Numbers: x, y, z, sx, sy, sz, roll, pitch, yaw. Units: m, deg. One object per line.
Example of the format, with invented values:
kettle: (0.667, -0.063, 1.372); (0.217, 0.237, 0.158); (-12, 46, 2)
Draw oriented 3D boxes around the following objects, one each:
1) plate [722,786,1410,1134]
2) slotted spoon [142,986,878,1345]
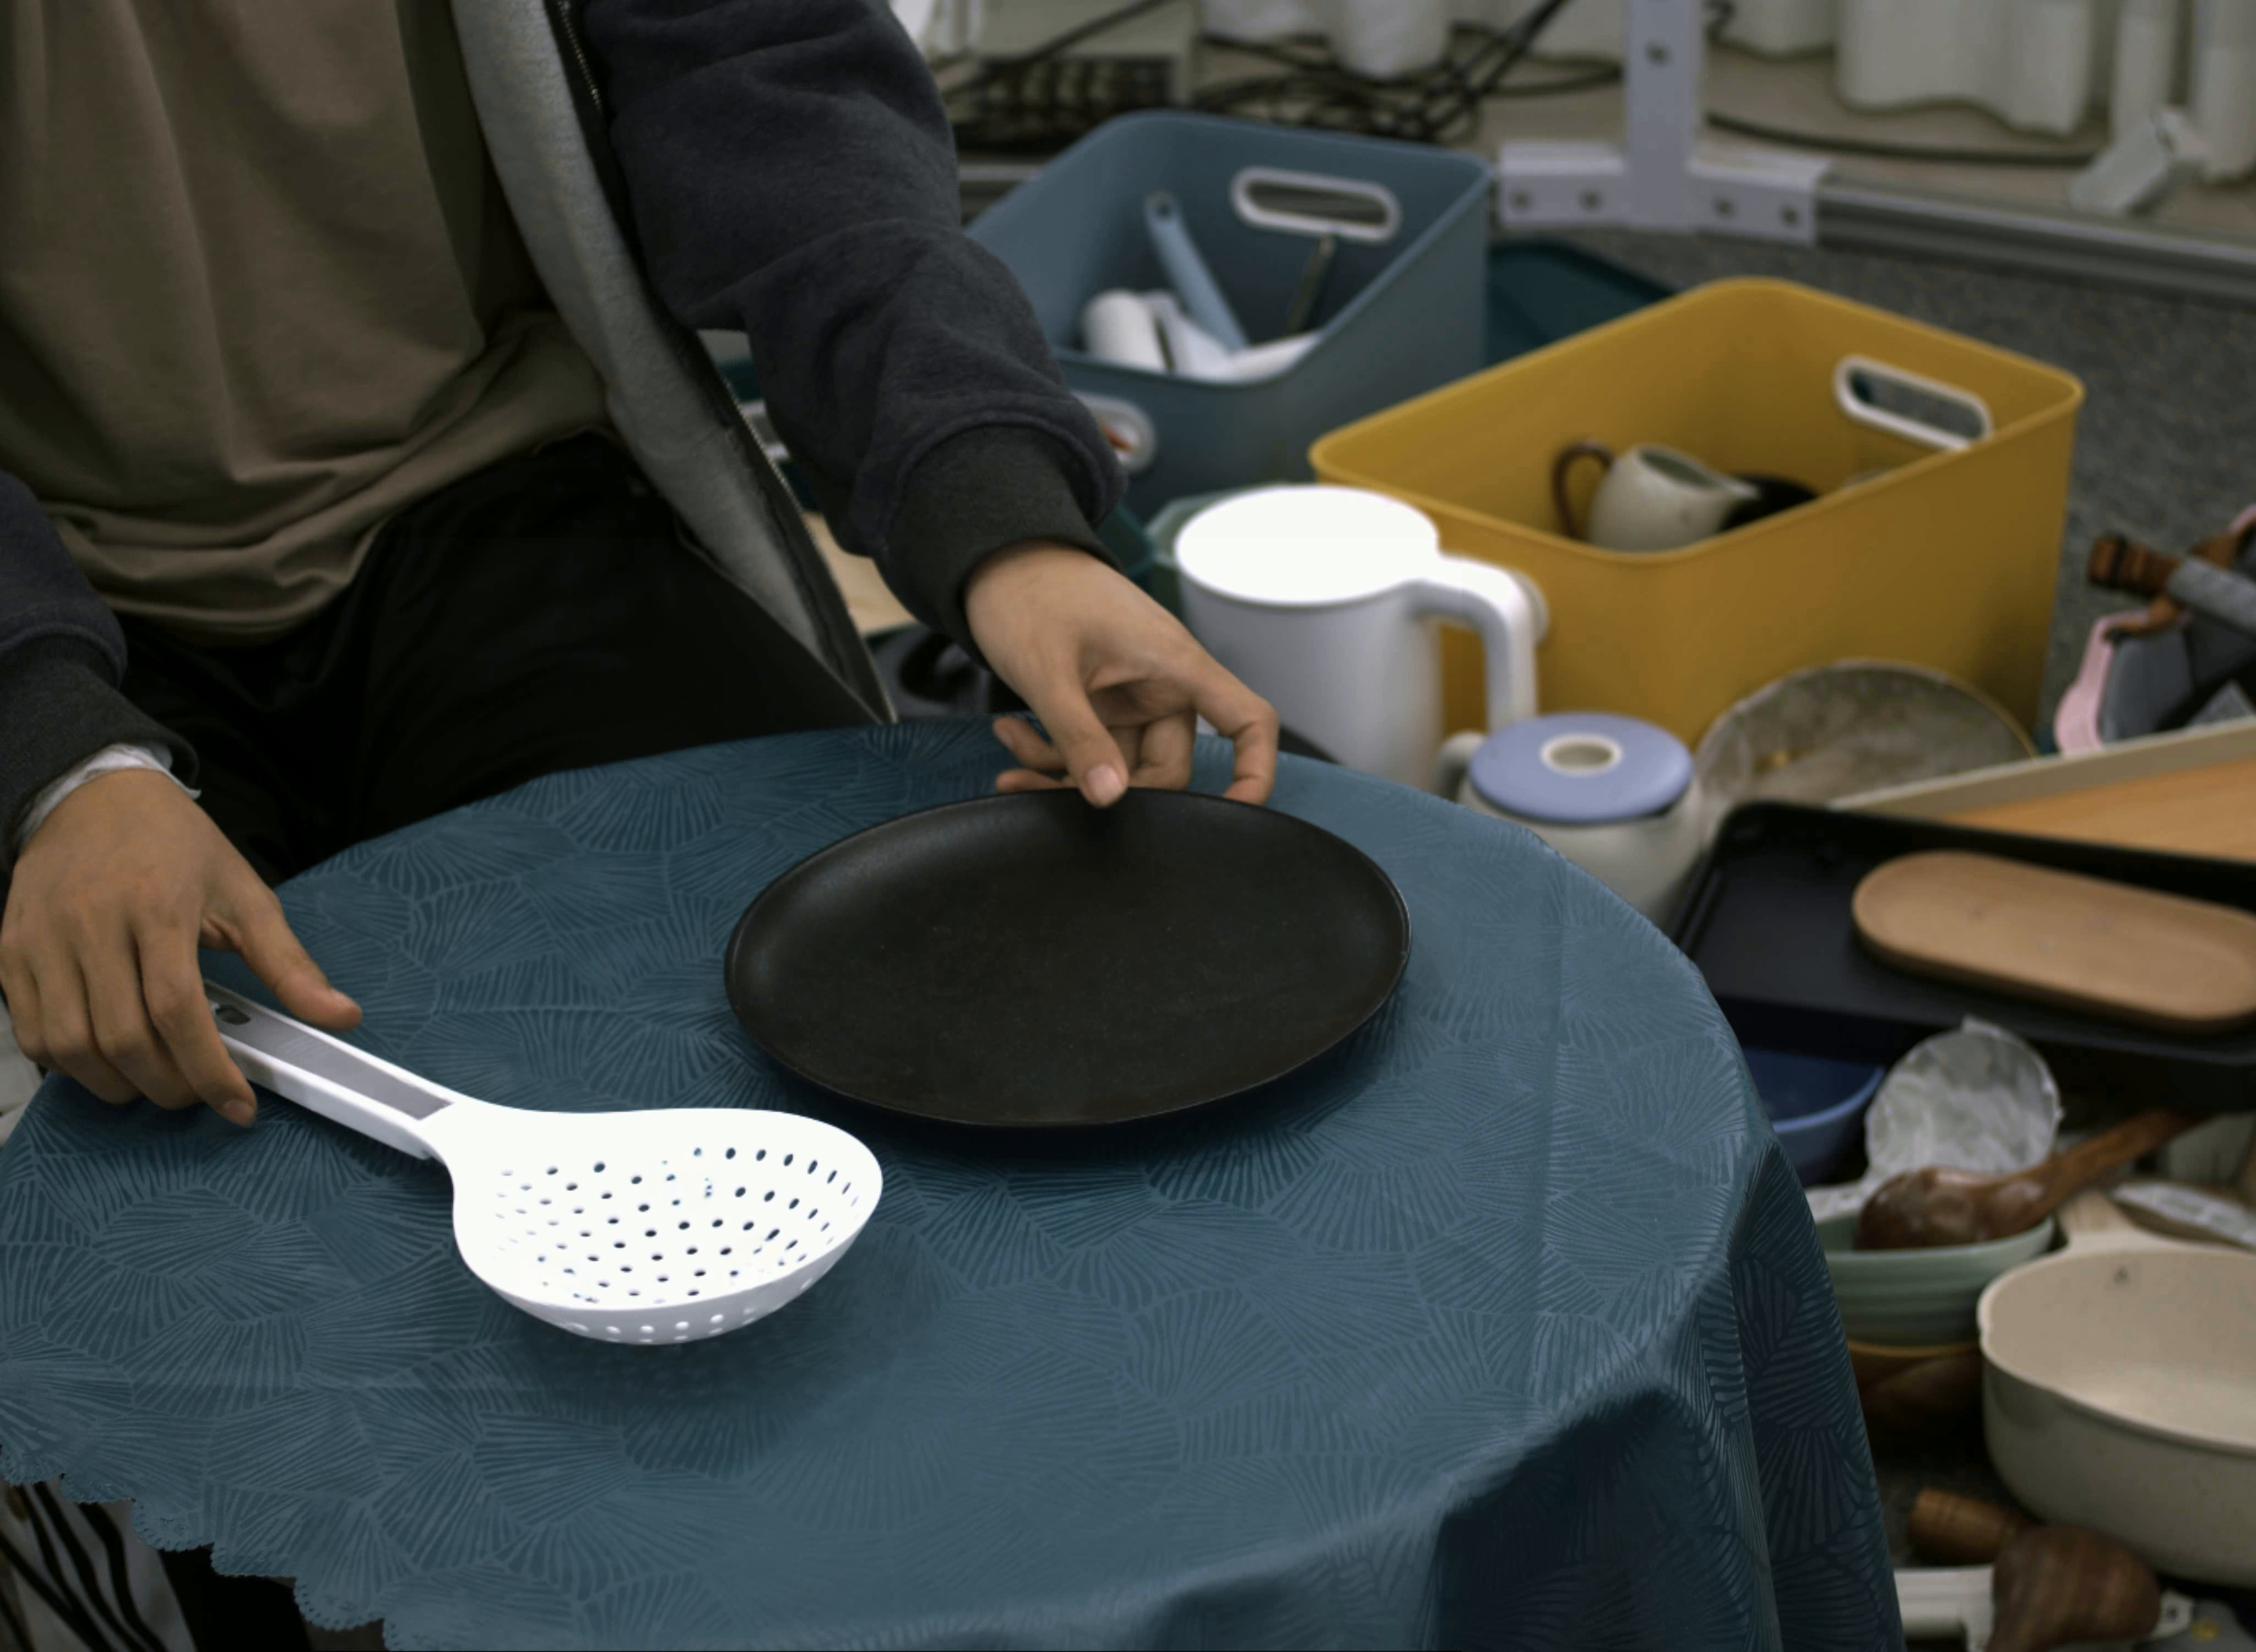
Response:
plate: (-0.022, 0.051, 1.975); (0.243, 0.023, 0.248); (-2, 28, 1)
slotted spoon: (-0.221, 0.105, 1.867); (0.137, 0.045, 0.349); (-24, 33, -38)
